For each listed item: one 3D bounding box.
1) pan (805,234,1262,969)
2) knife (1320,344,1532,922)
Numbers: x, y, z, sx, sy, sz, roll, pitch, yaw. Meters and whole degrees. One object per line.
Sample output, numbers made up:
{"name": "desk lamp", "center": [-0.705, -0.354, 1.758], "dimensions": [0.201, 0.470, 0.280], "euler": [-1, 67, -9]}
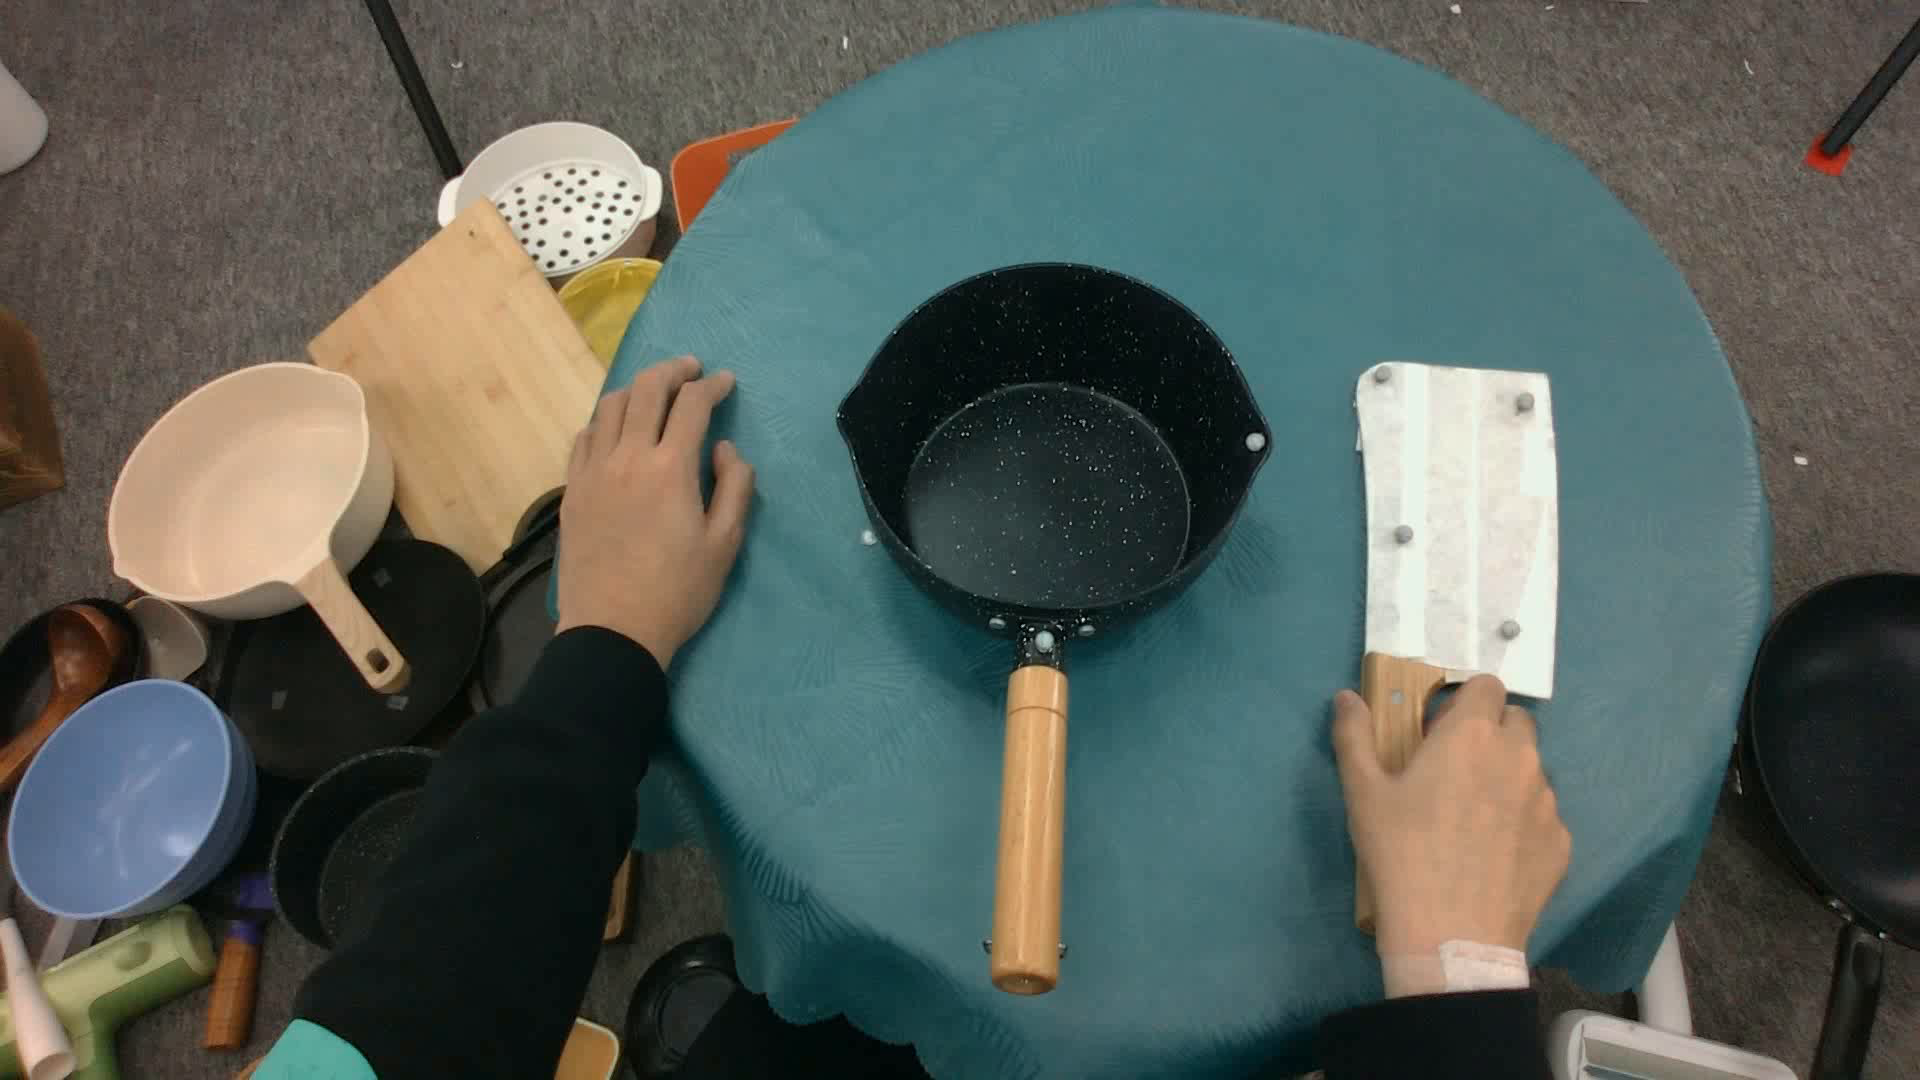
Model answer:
{"name": "pan", "center": [0.030, 0.021, 0.616], "dimensions": [0.207, 0.108, 0.344], "euler": [2, 63, 0]}
{"name": "knife", "center": [0.218, 0.027, 0.663], "dimensions": [0.114, 0.021, 0.317], "euler": [12, 62, 6]}
